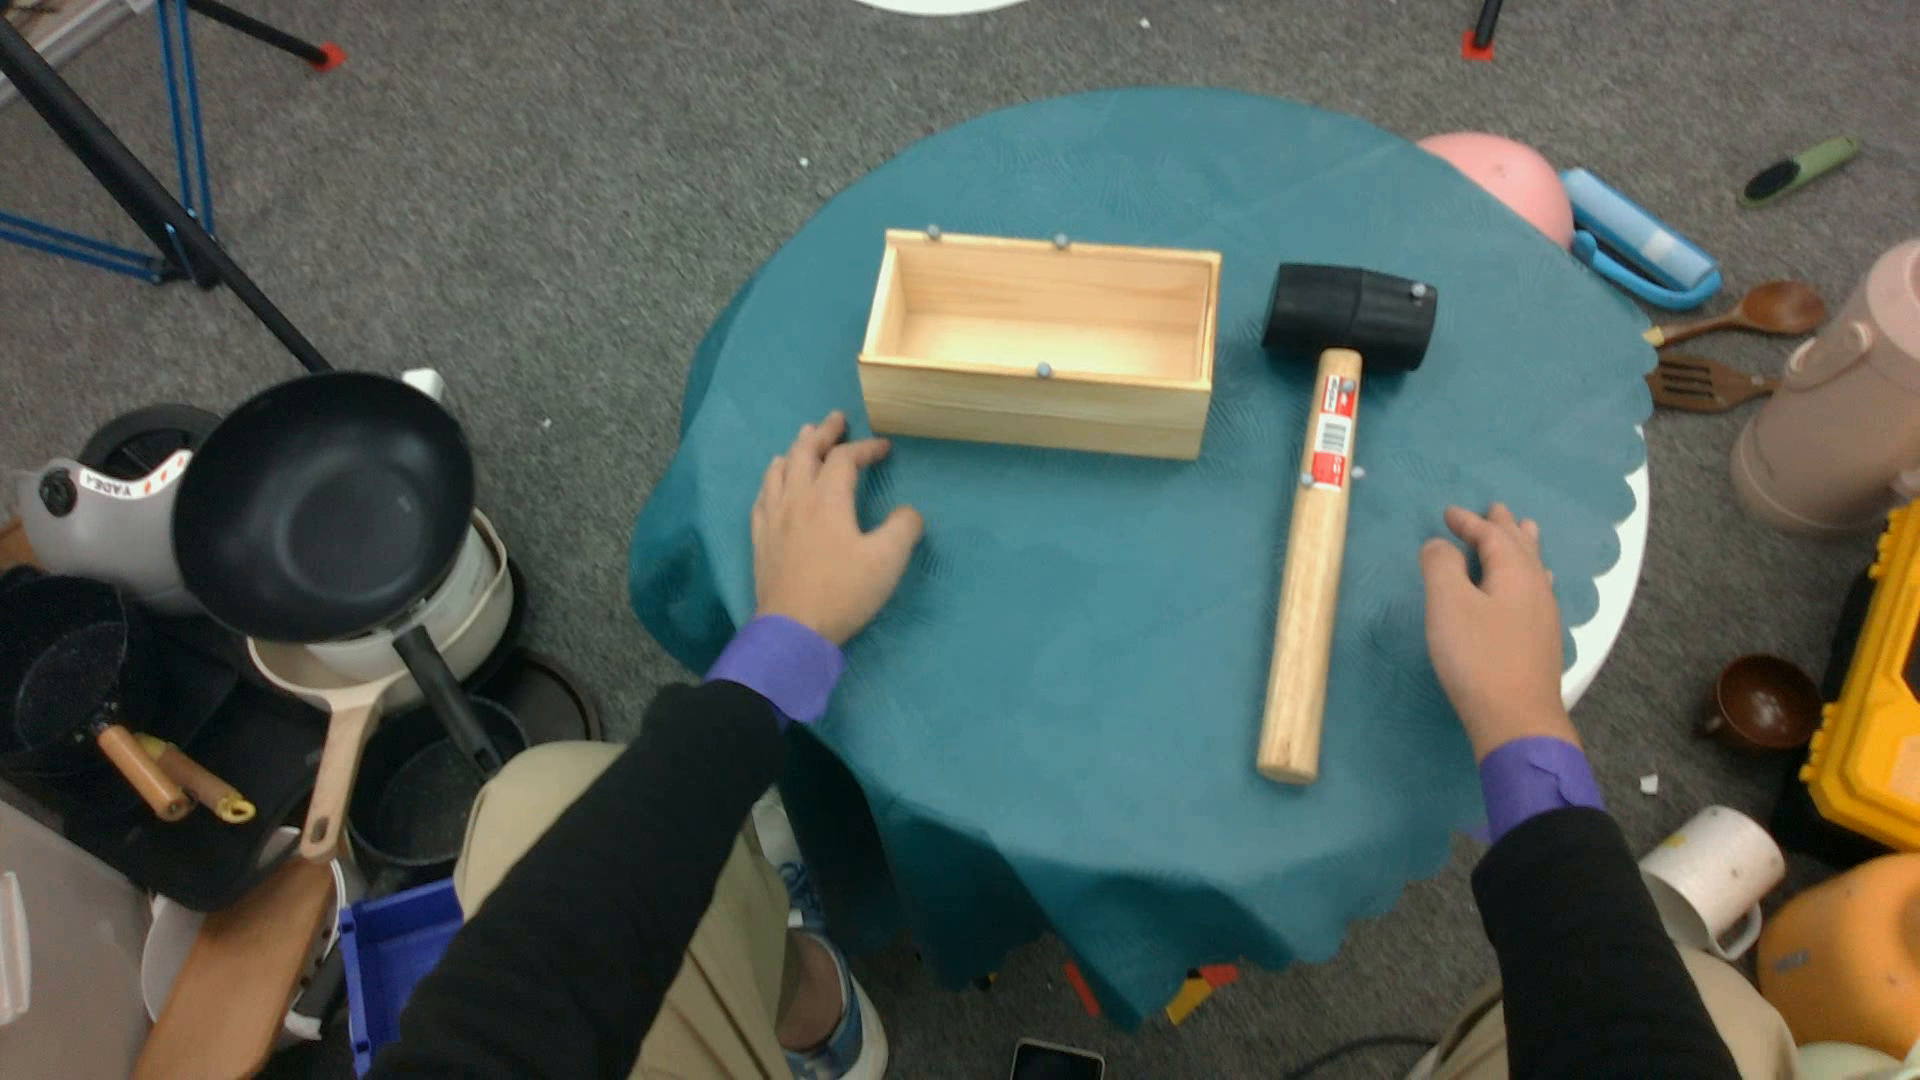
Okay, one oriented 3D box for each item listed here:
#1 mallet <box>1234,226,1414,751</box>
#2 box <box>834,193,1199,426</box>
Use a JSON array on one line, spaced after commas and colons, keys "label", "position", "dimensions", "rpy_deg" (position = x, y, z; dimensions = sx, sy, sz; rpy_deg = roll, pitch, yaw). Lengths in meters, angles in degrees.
[{"label": "mallet", "position": [0.202, -0.044, 0.813], "dimensions": [0.102, 0.064, 0.340], "rpy_deg": [9, 64, 9]}, {"label": "box", "position": [0.037, -0.144, 0.862], "dimensions": [0.211, 0.080, 0.108], "rpy_deg": [5, 64, 5]}]
